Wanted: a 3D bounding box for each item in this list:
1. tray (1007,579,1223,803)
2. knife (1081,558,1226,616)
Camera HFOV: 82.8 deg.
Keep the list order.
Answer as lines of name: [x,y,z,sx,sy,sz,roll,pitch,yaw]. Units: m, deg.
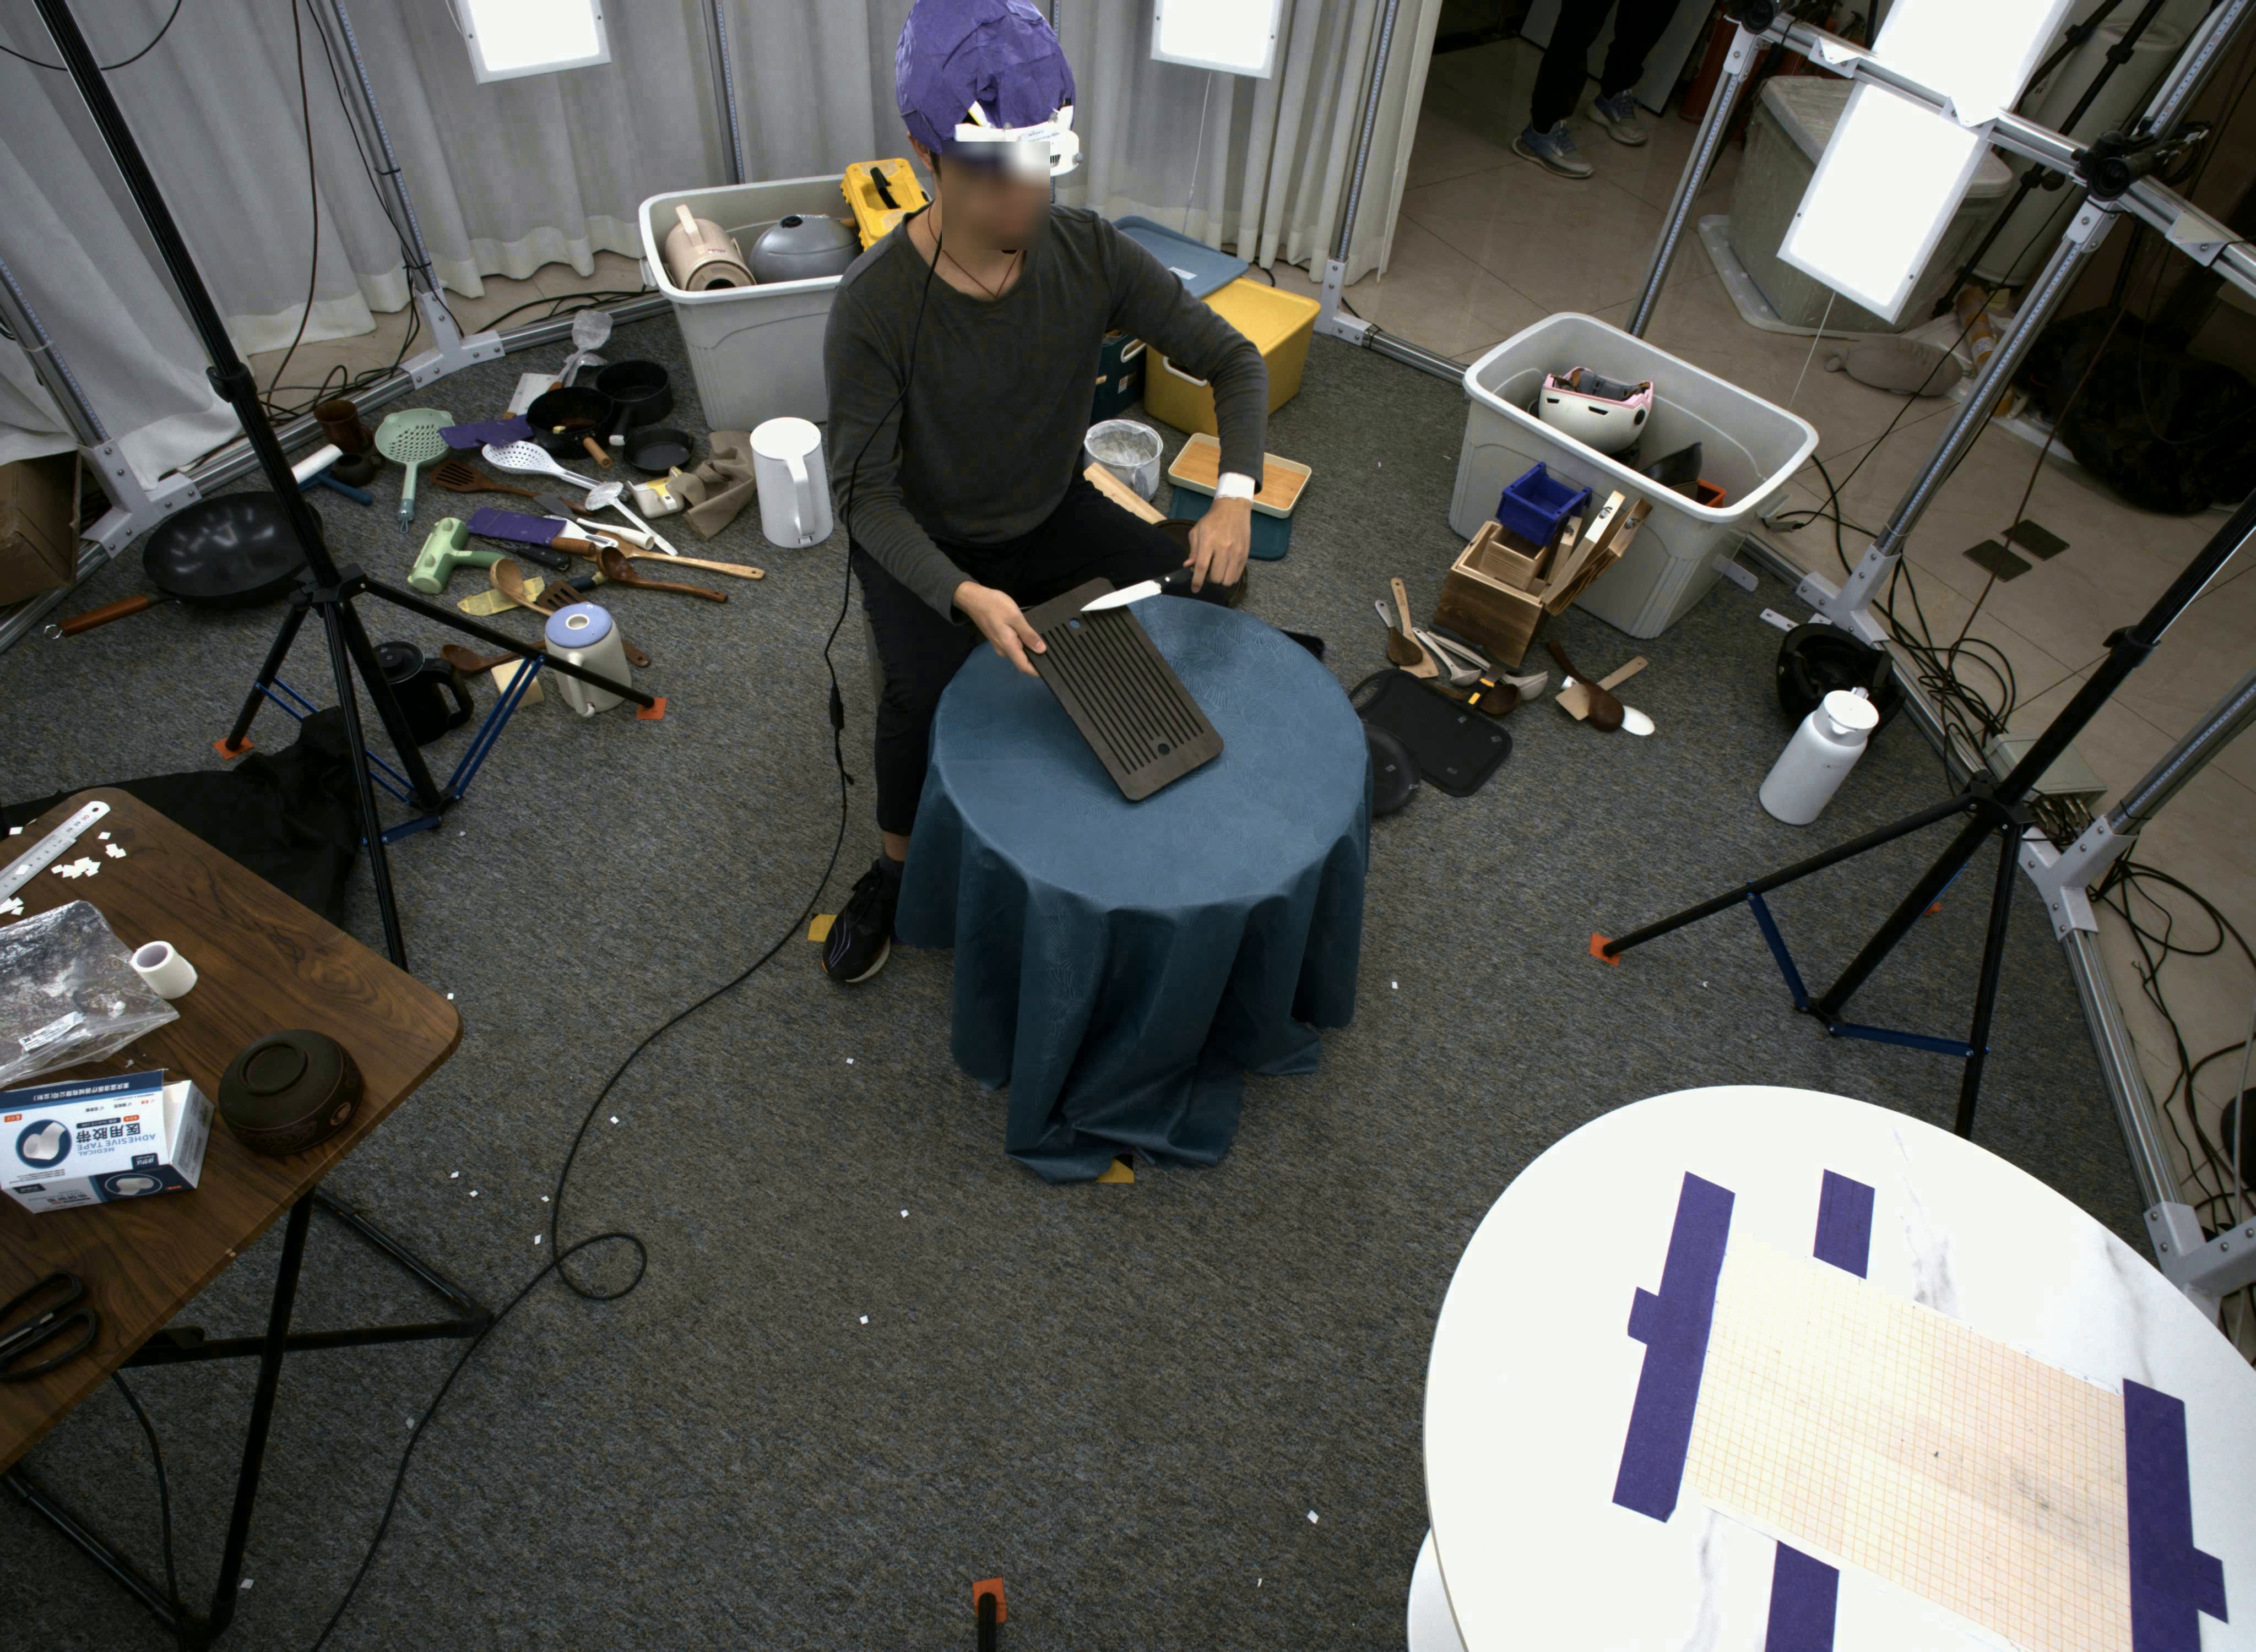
tray: [-0.018,-0.187,1.751,0.171,0.018,0.308,-30,78,-25]
knife: [0.036,-0.334,1.800,0.239,0.016,0.024,-23,86,-23]
